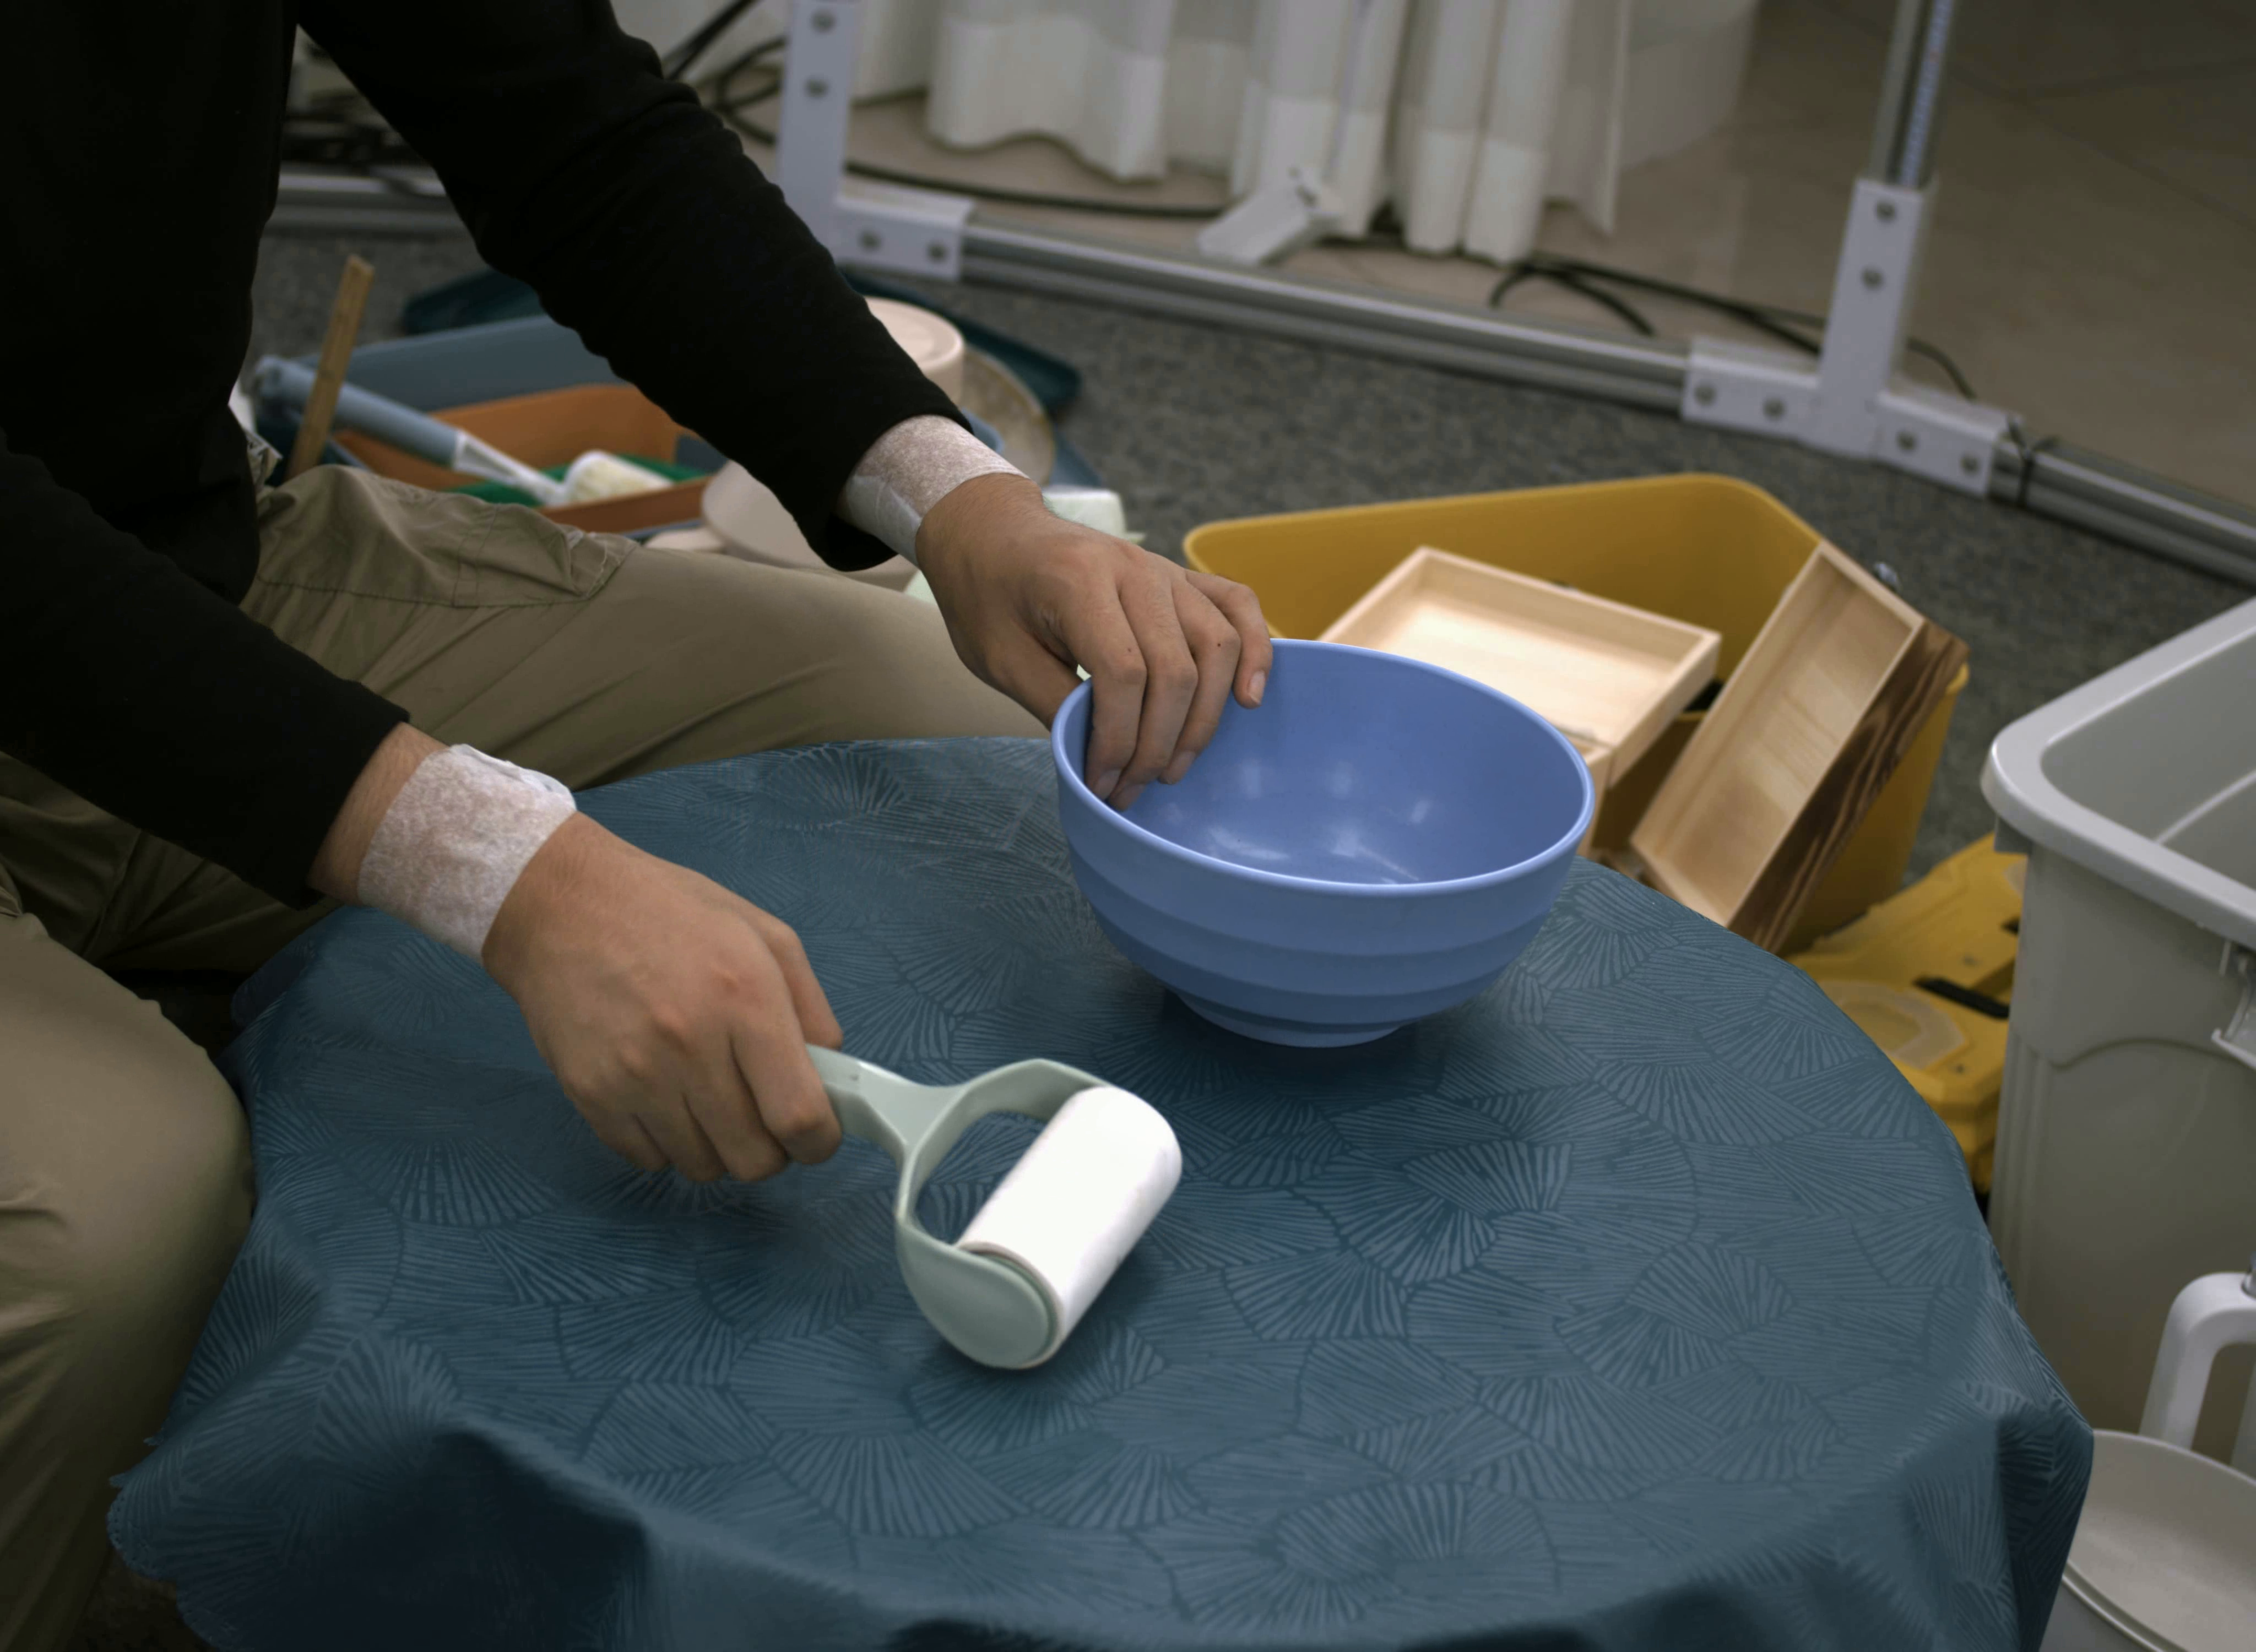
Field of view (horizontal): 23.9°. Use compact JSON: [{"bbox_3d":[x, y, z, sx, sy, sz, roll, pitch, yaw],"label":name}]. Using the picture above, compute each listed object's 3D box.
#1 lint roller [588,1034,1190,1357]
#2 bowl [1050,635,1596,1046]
[{"bbox_3d":[-0.085,0.099,1.746,0.198,0.048,0.117,22,36,12],"label":"lint roller"},{"bbox_3d":[0.065,0.016,1.922,0.196,0.095,0.198,5,28,-3],"label":"bowl"}]
